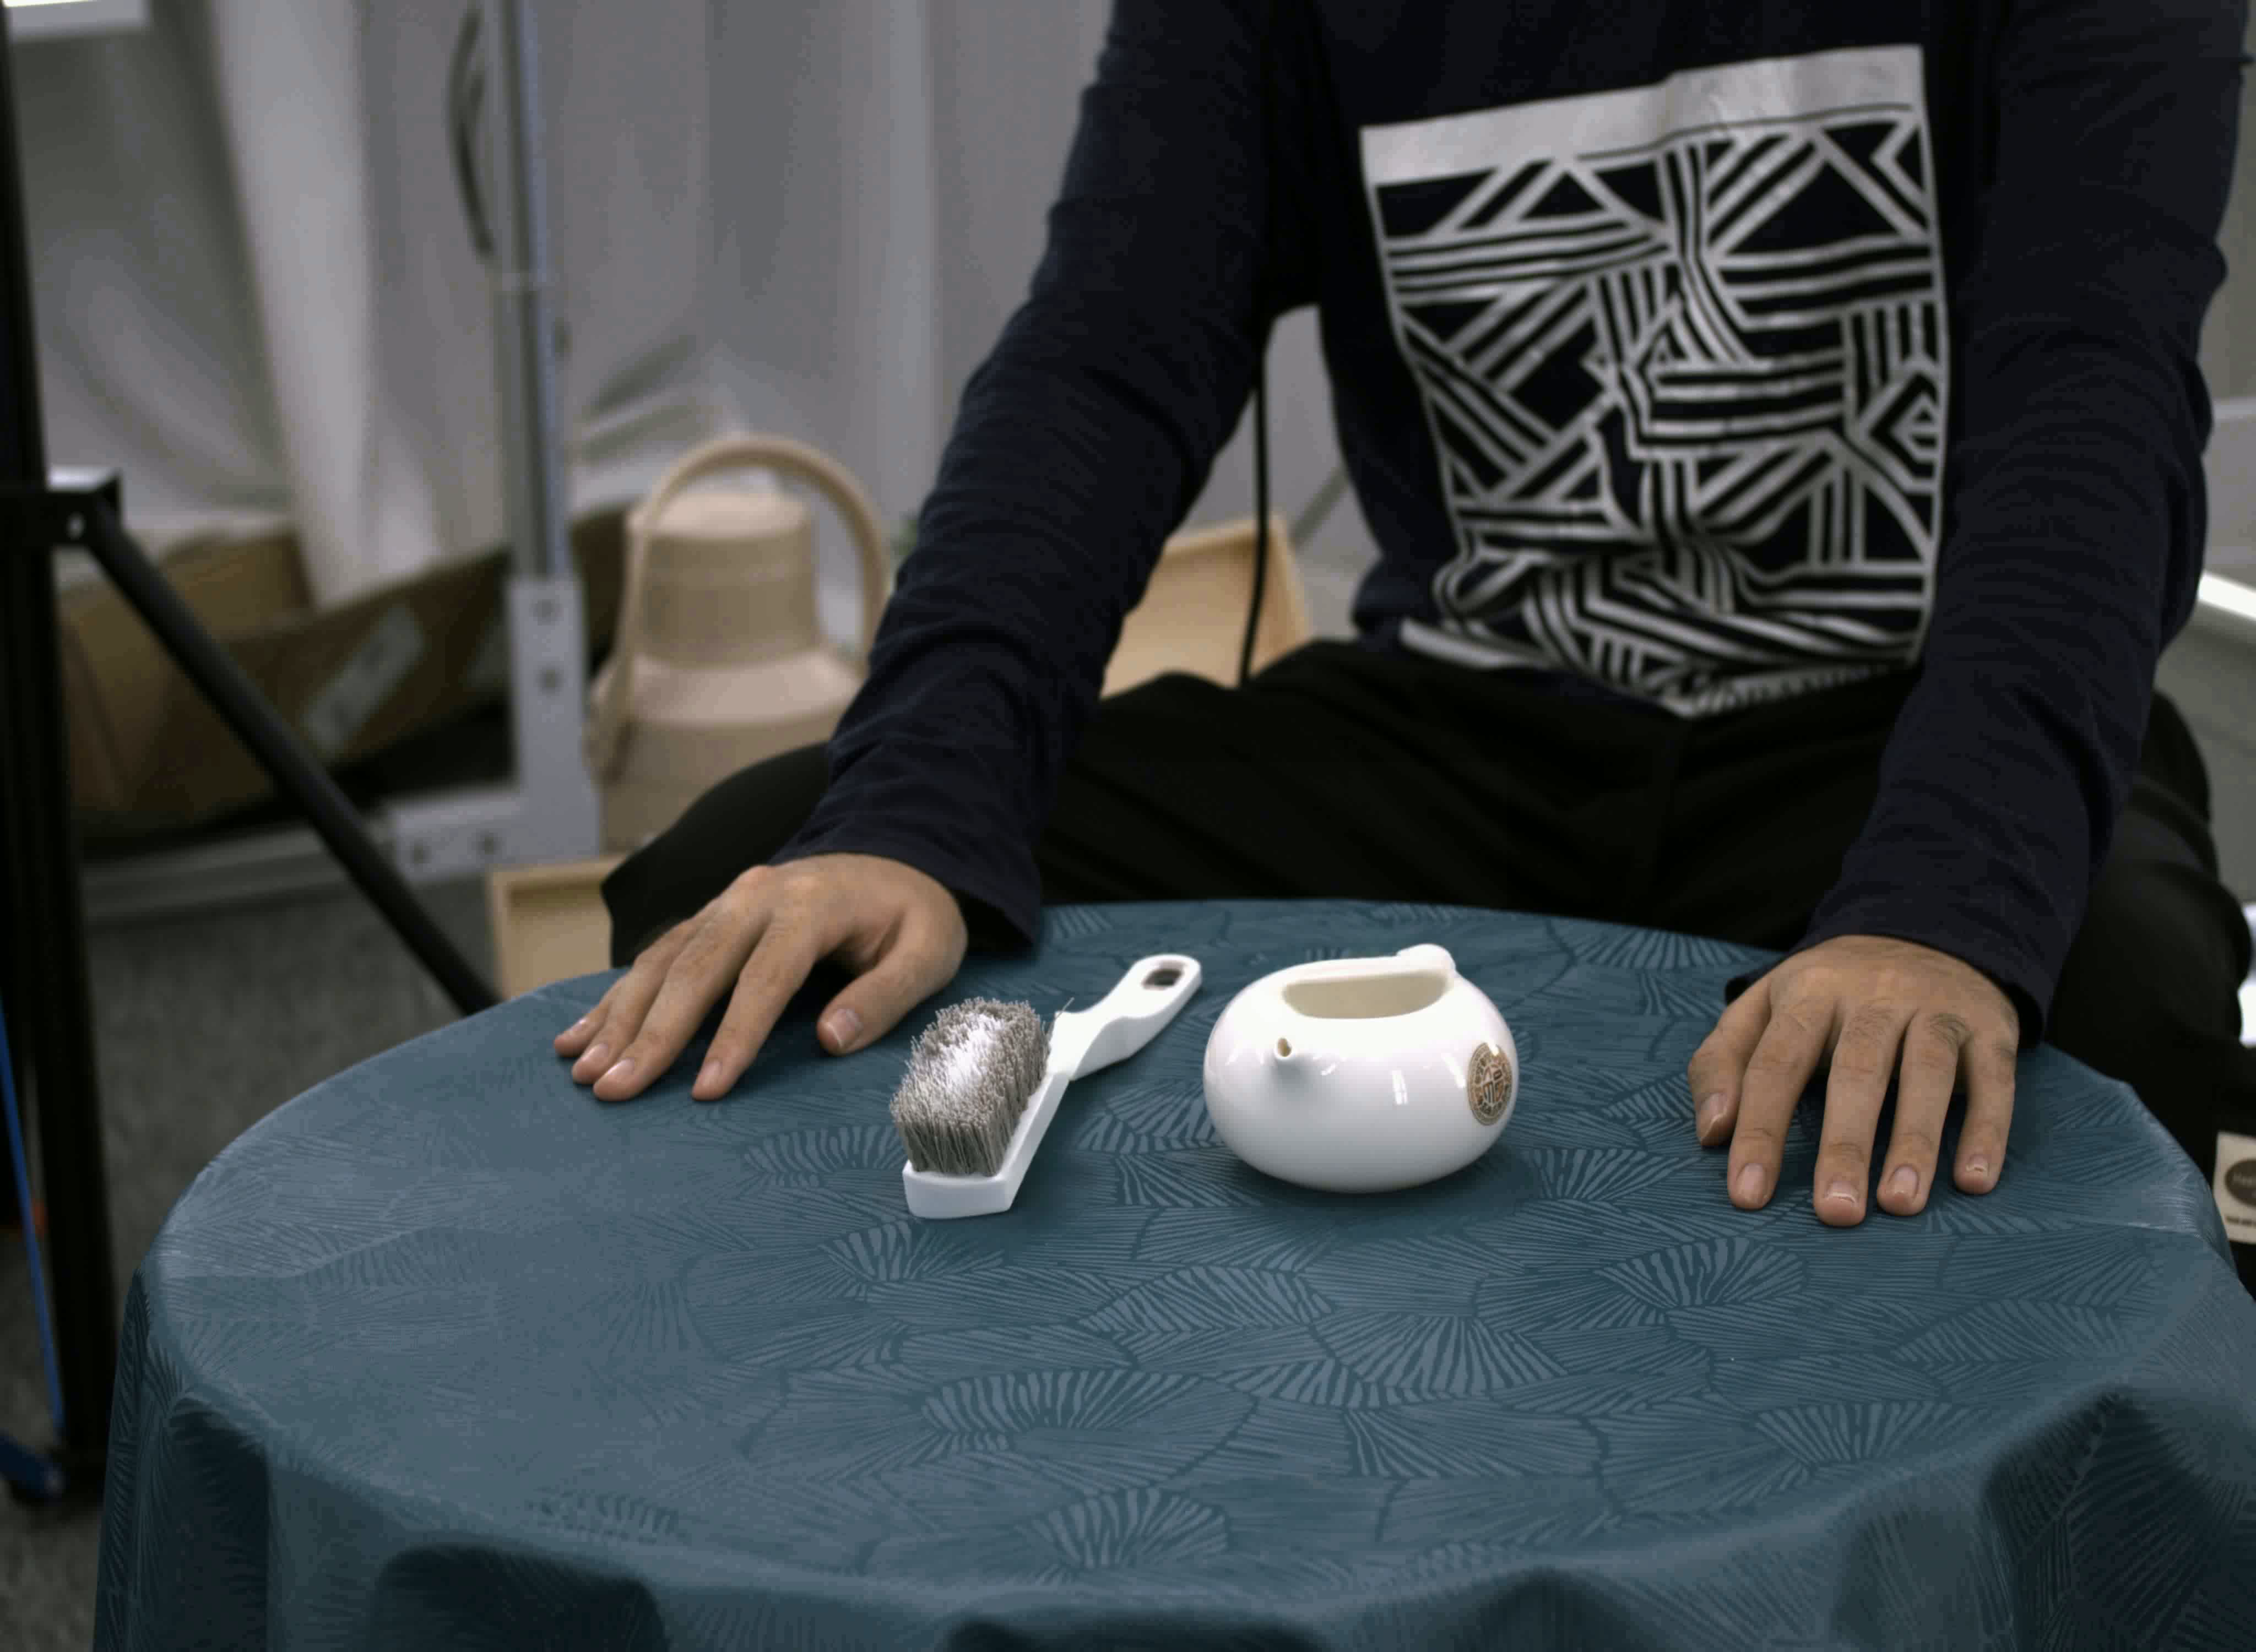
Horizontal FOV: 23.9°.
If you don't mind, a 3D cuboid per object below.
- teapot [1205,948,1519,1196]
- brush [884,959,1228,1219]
[{"bbox_3d":[0.074,0.073,1.578,0.095,0.056,0.125,-1,13,25],"label":"teapot"},{"bbox_3d":[-0.017,0.061,1.642,0.035,0.050,0.241,-1,16,21],"label":"brush"}]
